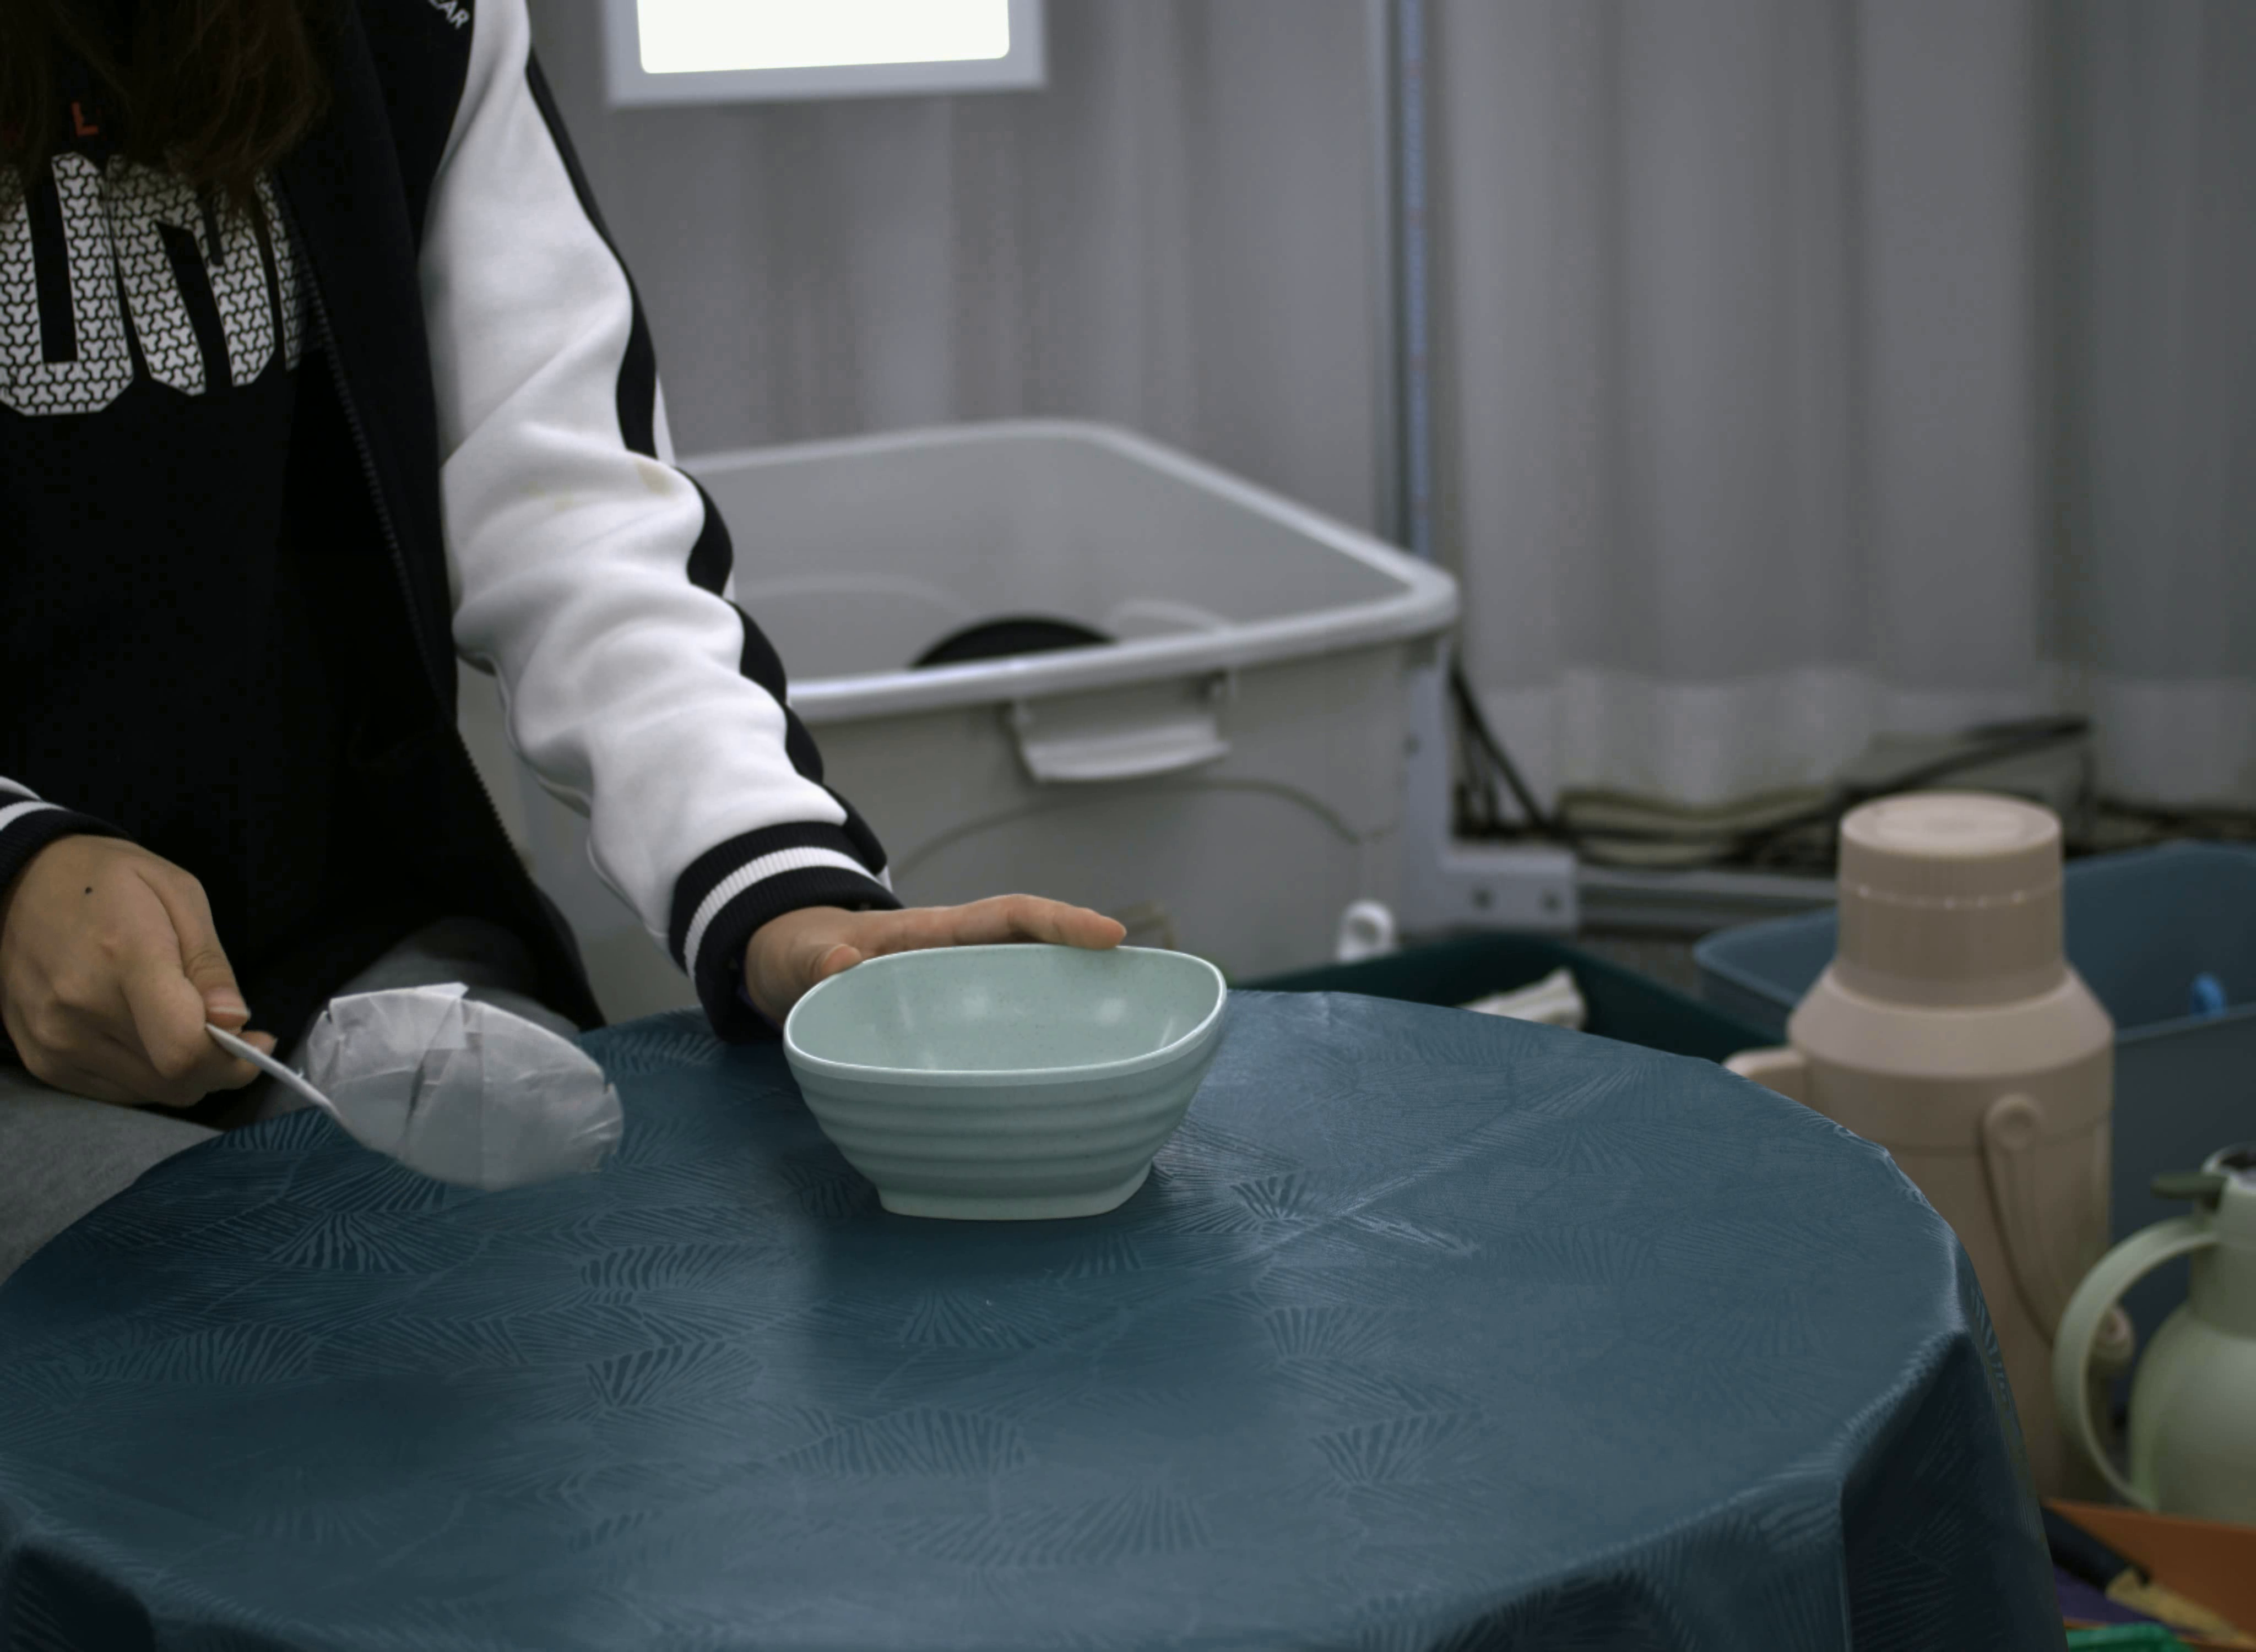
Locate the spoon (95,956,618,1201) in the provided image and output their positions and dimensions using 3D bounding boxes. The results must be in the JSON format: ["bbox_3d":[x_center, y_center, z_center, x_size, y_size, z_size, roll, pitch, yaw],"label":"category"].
[{"bbox_3d":[-0.238,0.058,1.647,0.059,0.099,0.279,-46,29,-13],"label":"spoon"}]

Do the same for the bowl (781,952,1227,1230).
[{"bbox_3d":[-0.037,0.087,1.727,0.151,0.058,0.152,-3,14,0],"label":"bowl"}]
